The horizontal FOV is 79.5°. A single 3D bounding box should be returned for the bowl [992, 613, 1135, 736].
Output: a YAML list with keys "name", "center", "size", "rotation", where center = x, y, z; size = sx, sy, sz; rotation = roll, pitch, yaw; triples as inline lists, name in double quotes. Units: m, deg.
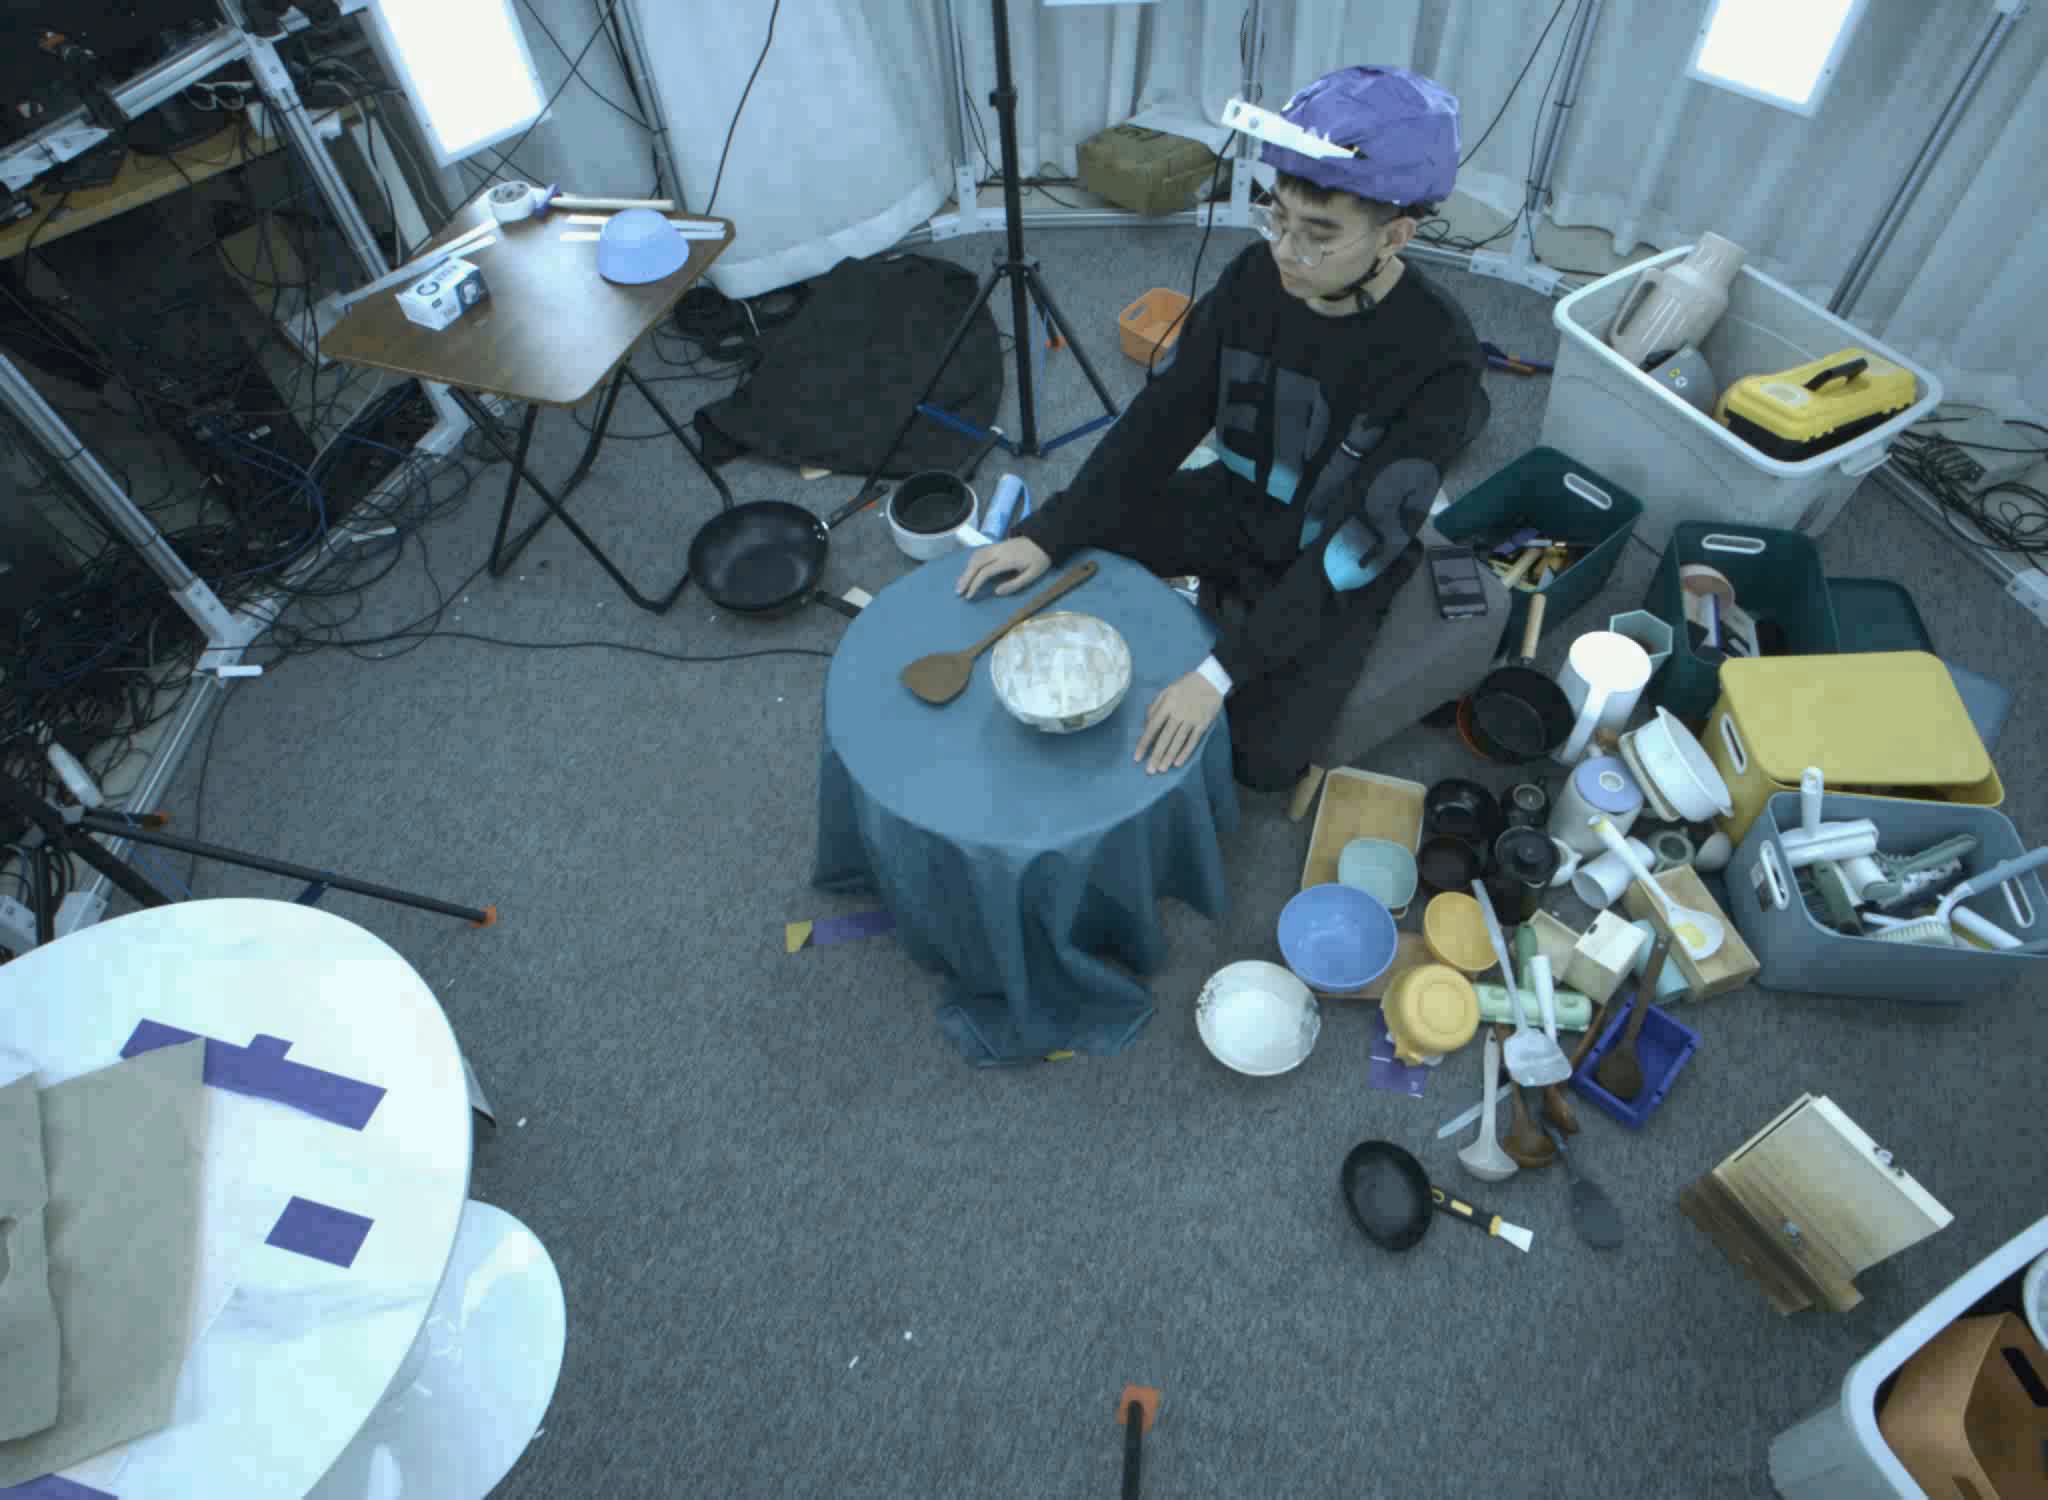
- name: "bowl"
  center: [0.061, -0.094, 1.804]
  size: [0.214, 0.095, 0.212]
  rotation: [-1, 53, 2]

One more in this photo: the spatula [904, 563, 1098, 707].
- name: "spatula"
  center: [-0.023, -0.192, 1.925]
  size: [0.389, 0.016, 0.094]
  rotation: [-39, 63, -23]
